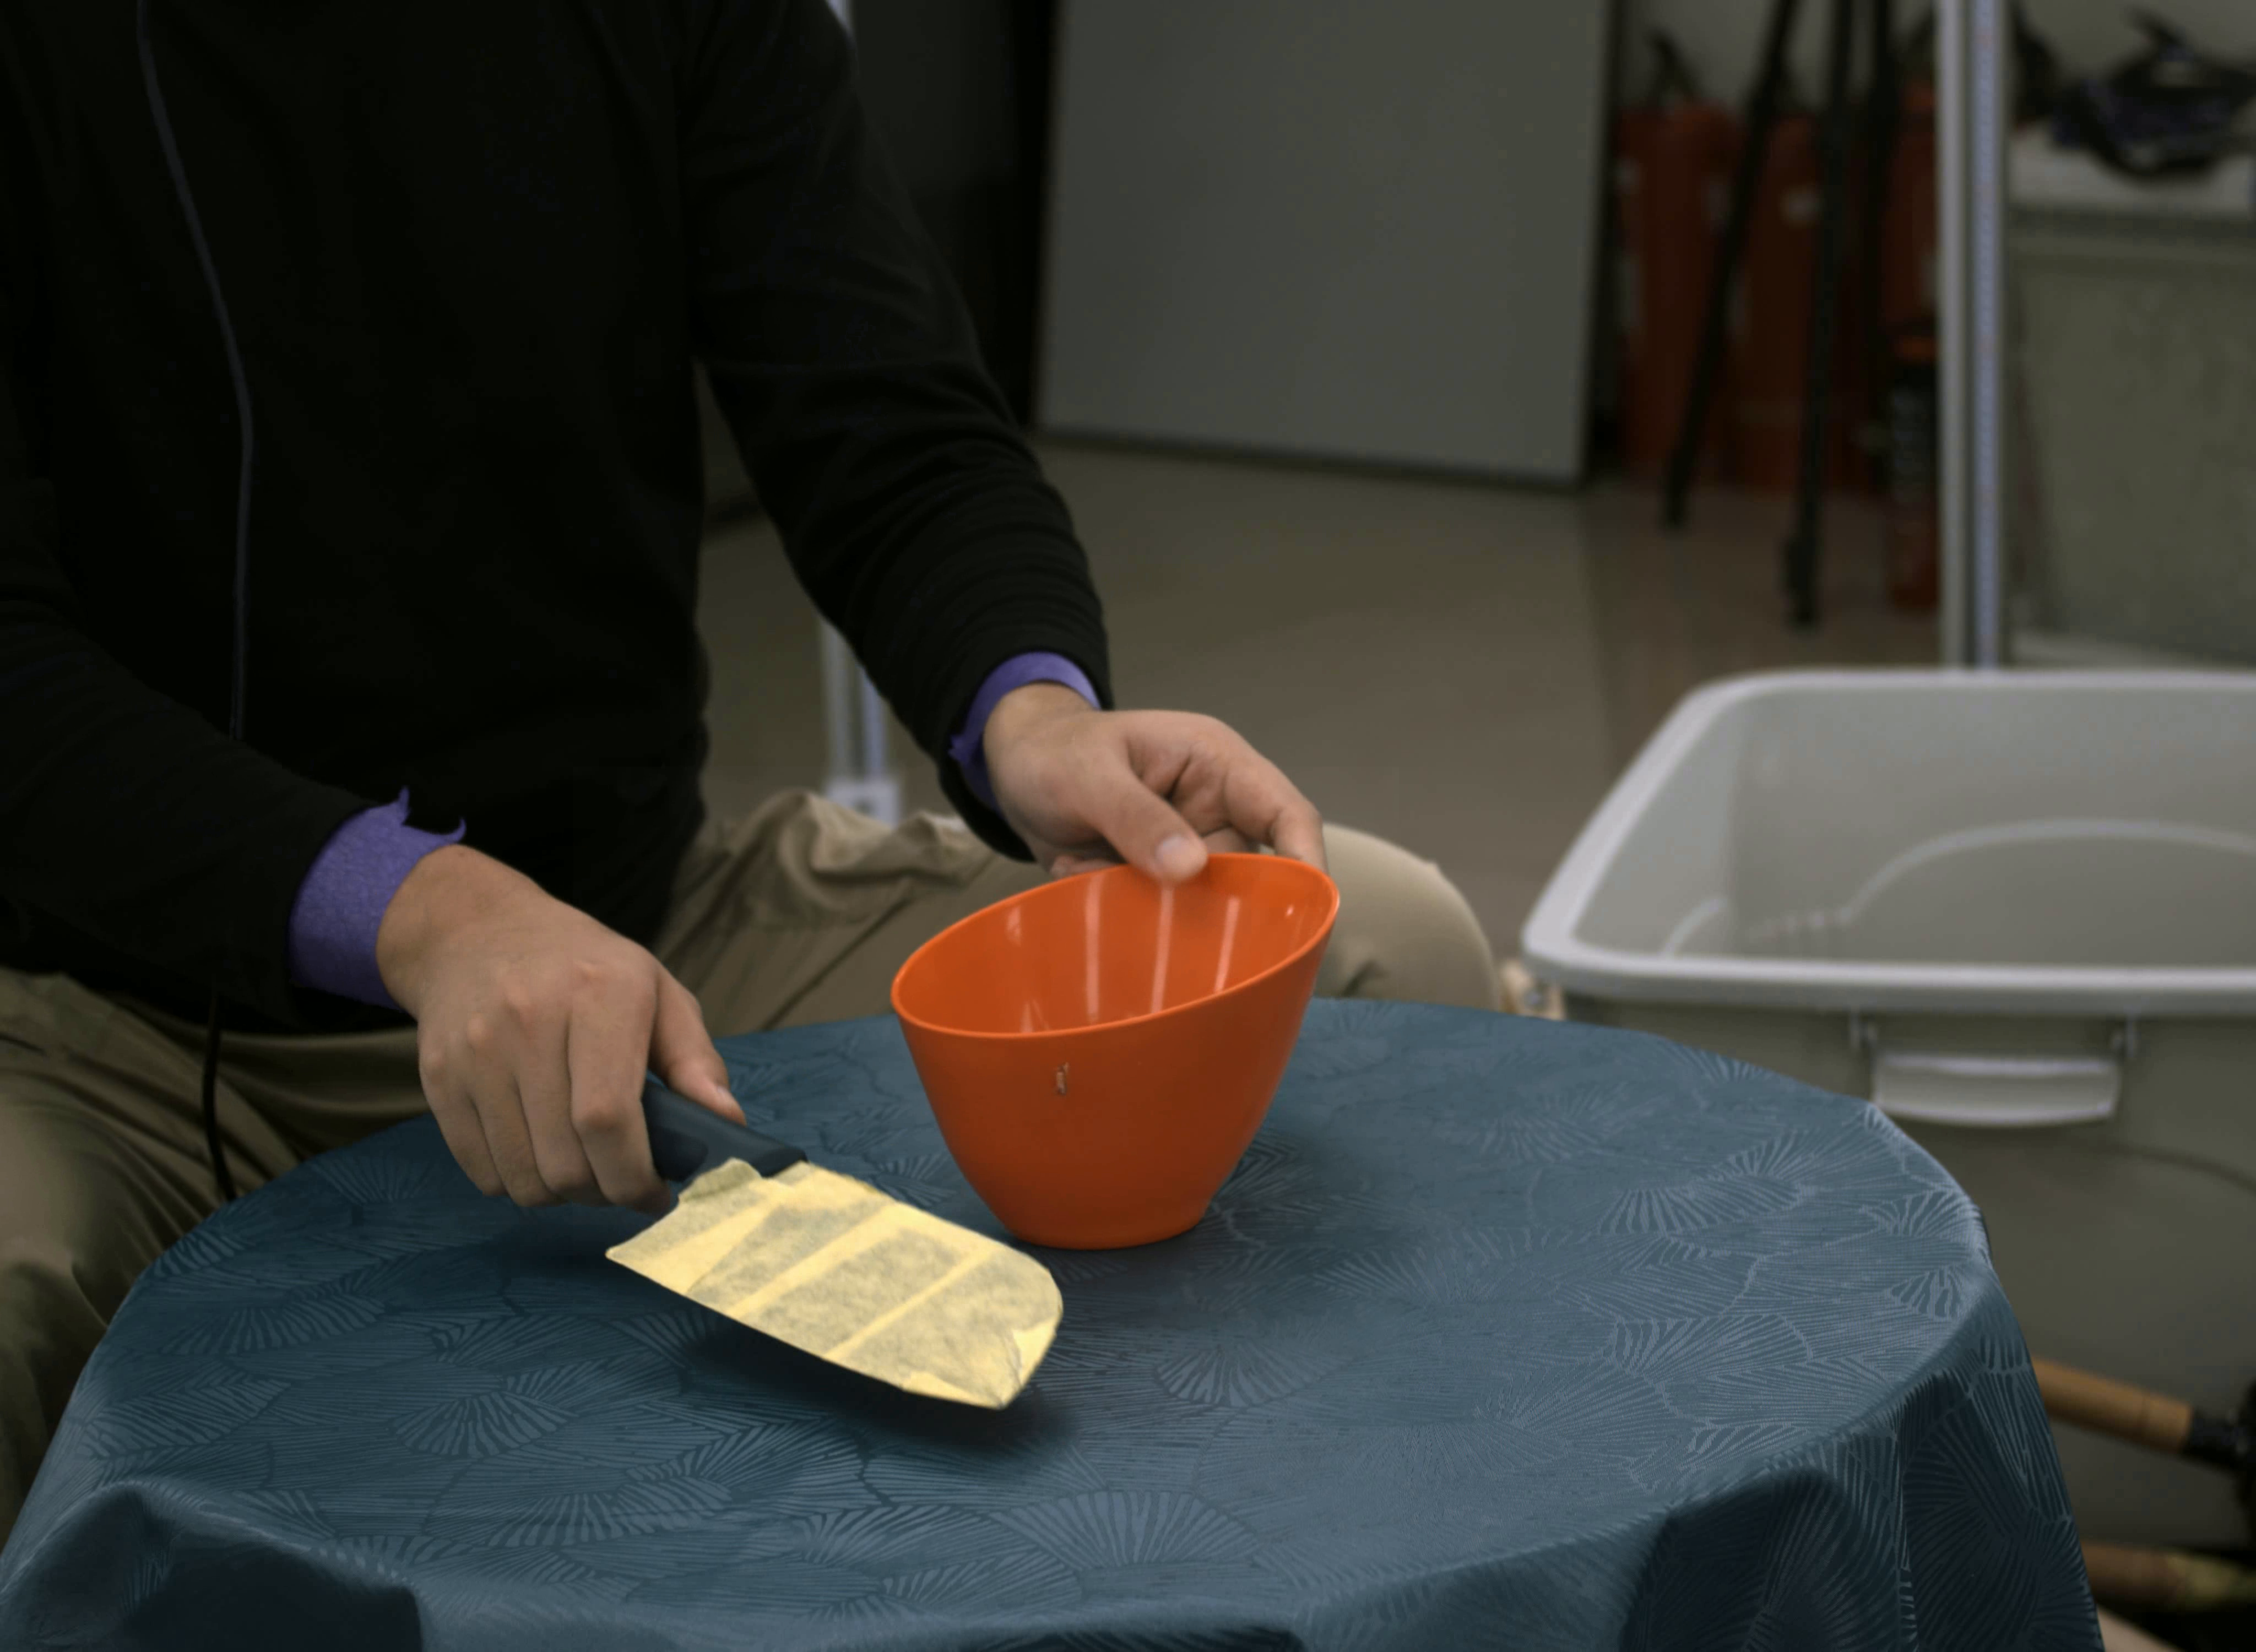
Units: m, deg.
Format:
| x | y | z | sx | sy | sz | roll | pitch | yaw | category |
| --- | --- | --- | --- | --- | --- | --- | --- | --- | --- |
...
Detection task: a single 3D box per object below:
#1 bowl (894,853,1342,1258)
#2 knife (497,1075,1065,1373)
| x | y | z | sx | sy | sz | roll | pitch | yaw | category |
| --- | --- | --- | --- | --- | --- | --- | --- | --- | --- |
| 0.000 | 0.077 | 1.740 | 0.146 | 0.106 | 0.148 | -5 | 15 | 0 | bowl |
| -0.117 | 0.122 | 1.653 | 0.079 | 0.027 | 0.292 | -27 | 27 | -31 | knife |
